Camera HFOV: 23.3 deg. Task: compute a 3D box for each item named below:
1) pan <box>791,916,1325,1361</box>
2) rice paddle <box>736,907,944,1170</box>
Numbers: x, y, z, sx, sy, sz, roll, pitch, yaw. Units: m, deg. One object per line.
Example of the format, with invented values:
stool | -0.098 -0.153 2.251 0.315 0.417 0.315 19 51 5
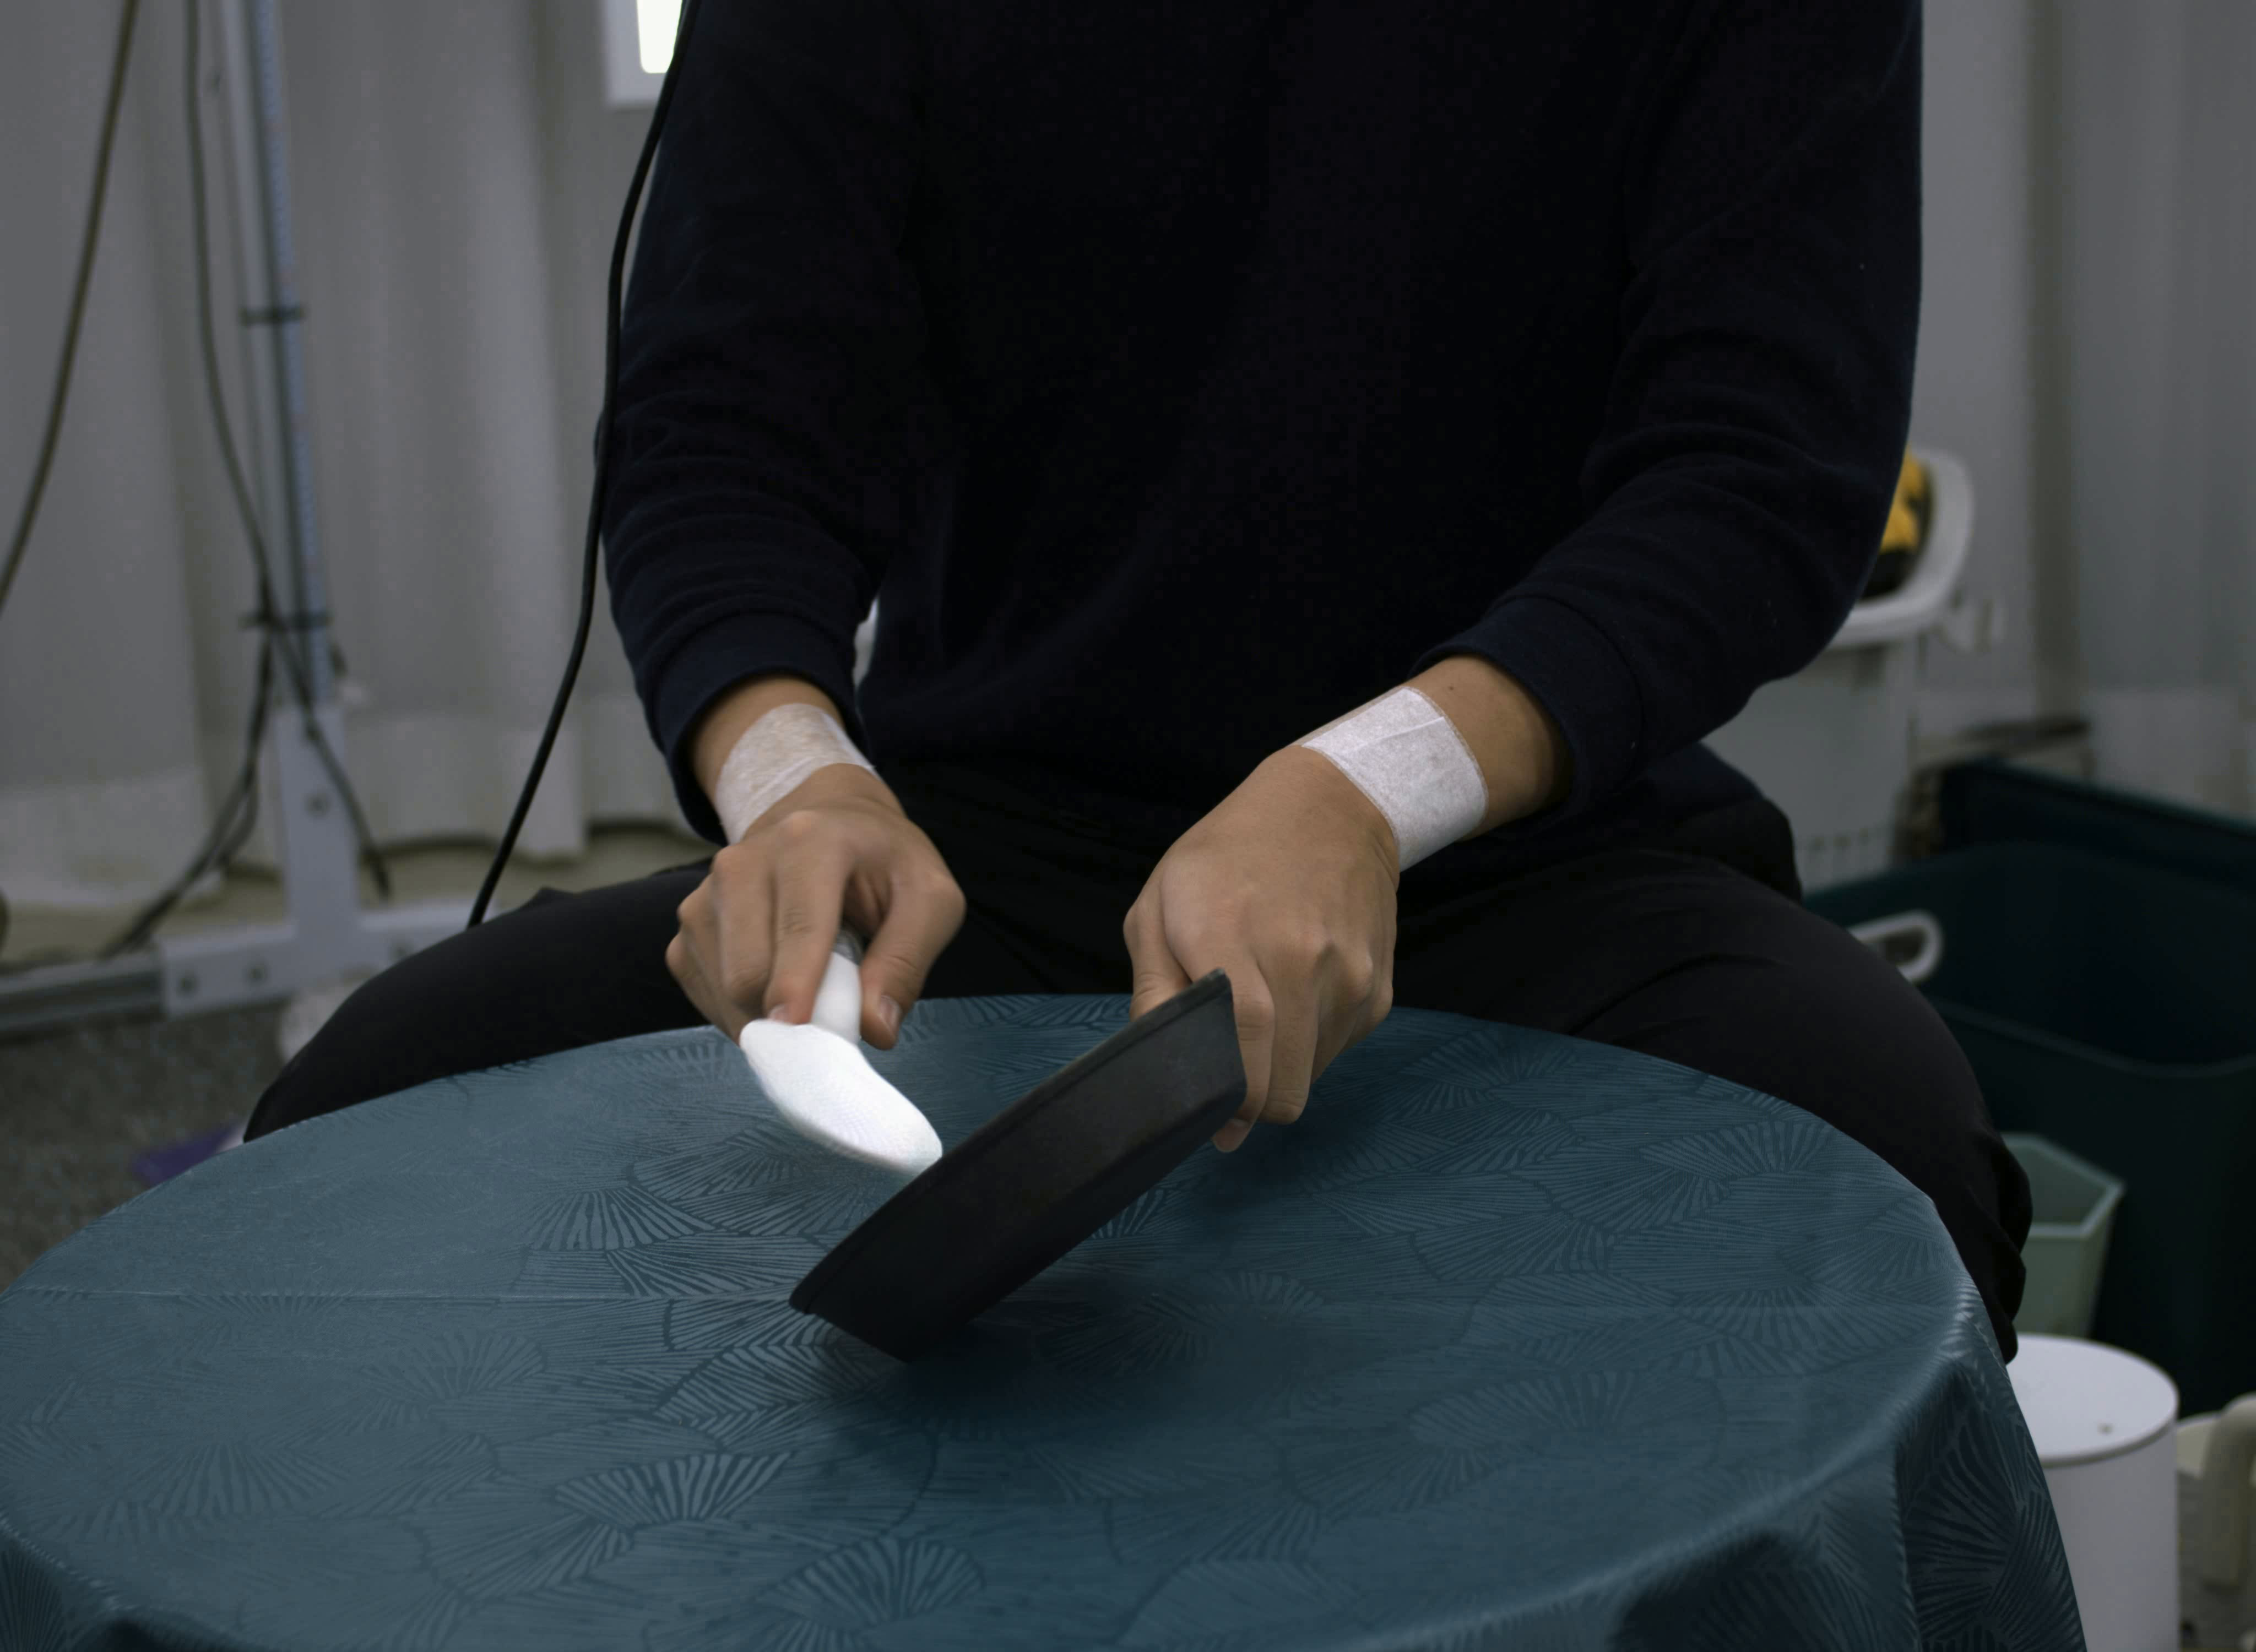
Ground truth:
pan | 0.006 0.081 1.643 0.168 0.050 0.324 -41 -7 26
rice paddle | -0.092 0.066 1.674 0.068 0.029 0.207 25 10 -12
